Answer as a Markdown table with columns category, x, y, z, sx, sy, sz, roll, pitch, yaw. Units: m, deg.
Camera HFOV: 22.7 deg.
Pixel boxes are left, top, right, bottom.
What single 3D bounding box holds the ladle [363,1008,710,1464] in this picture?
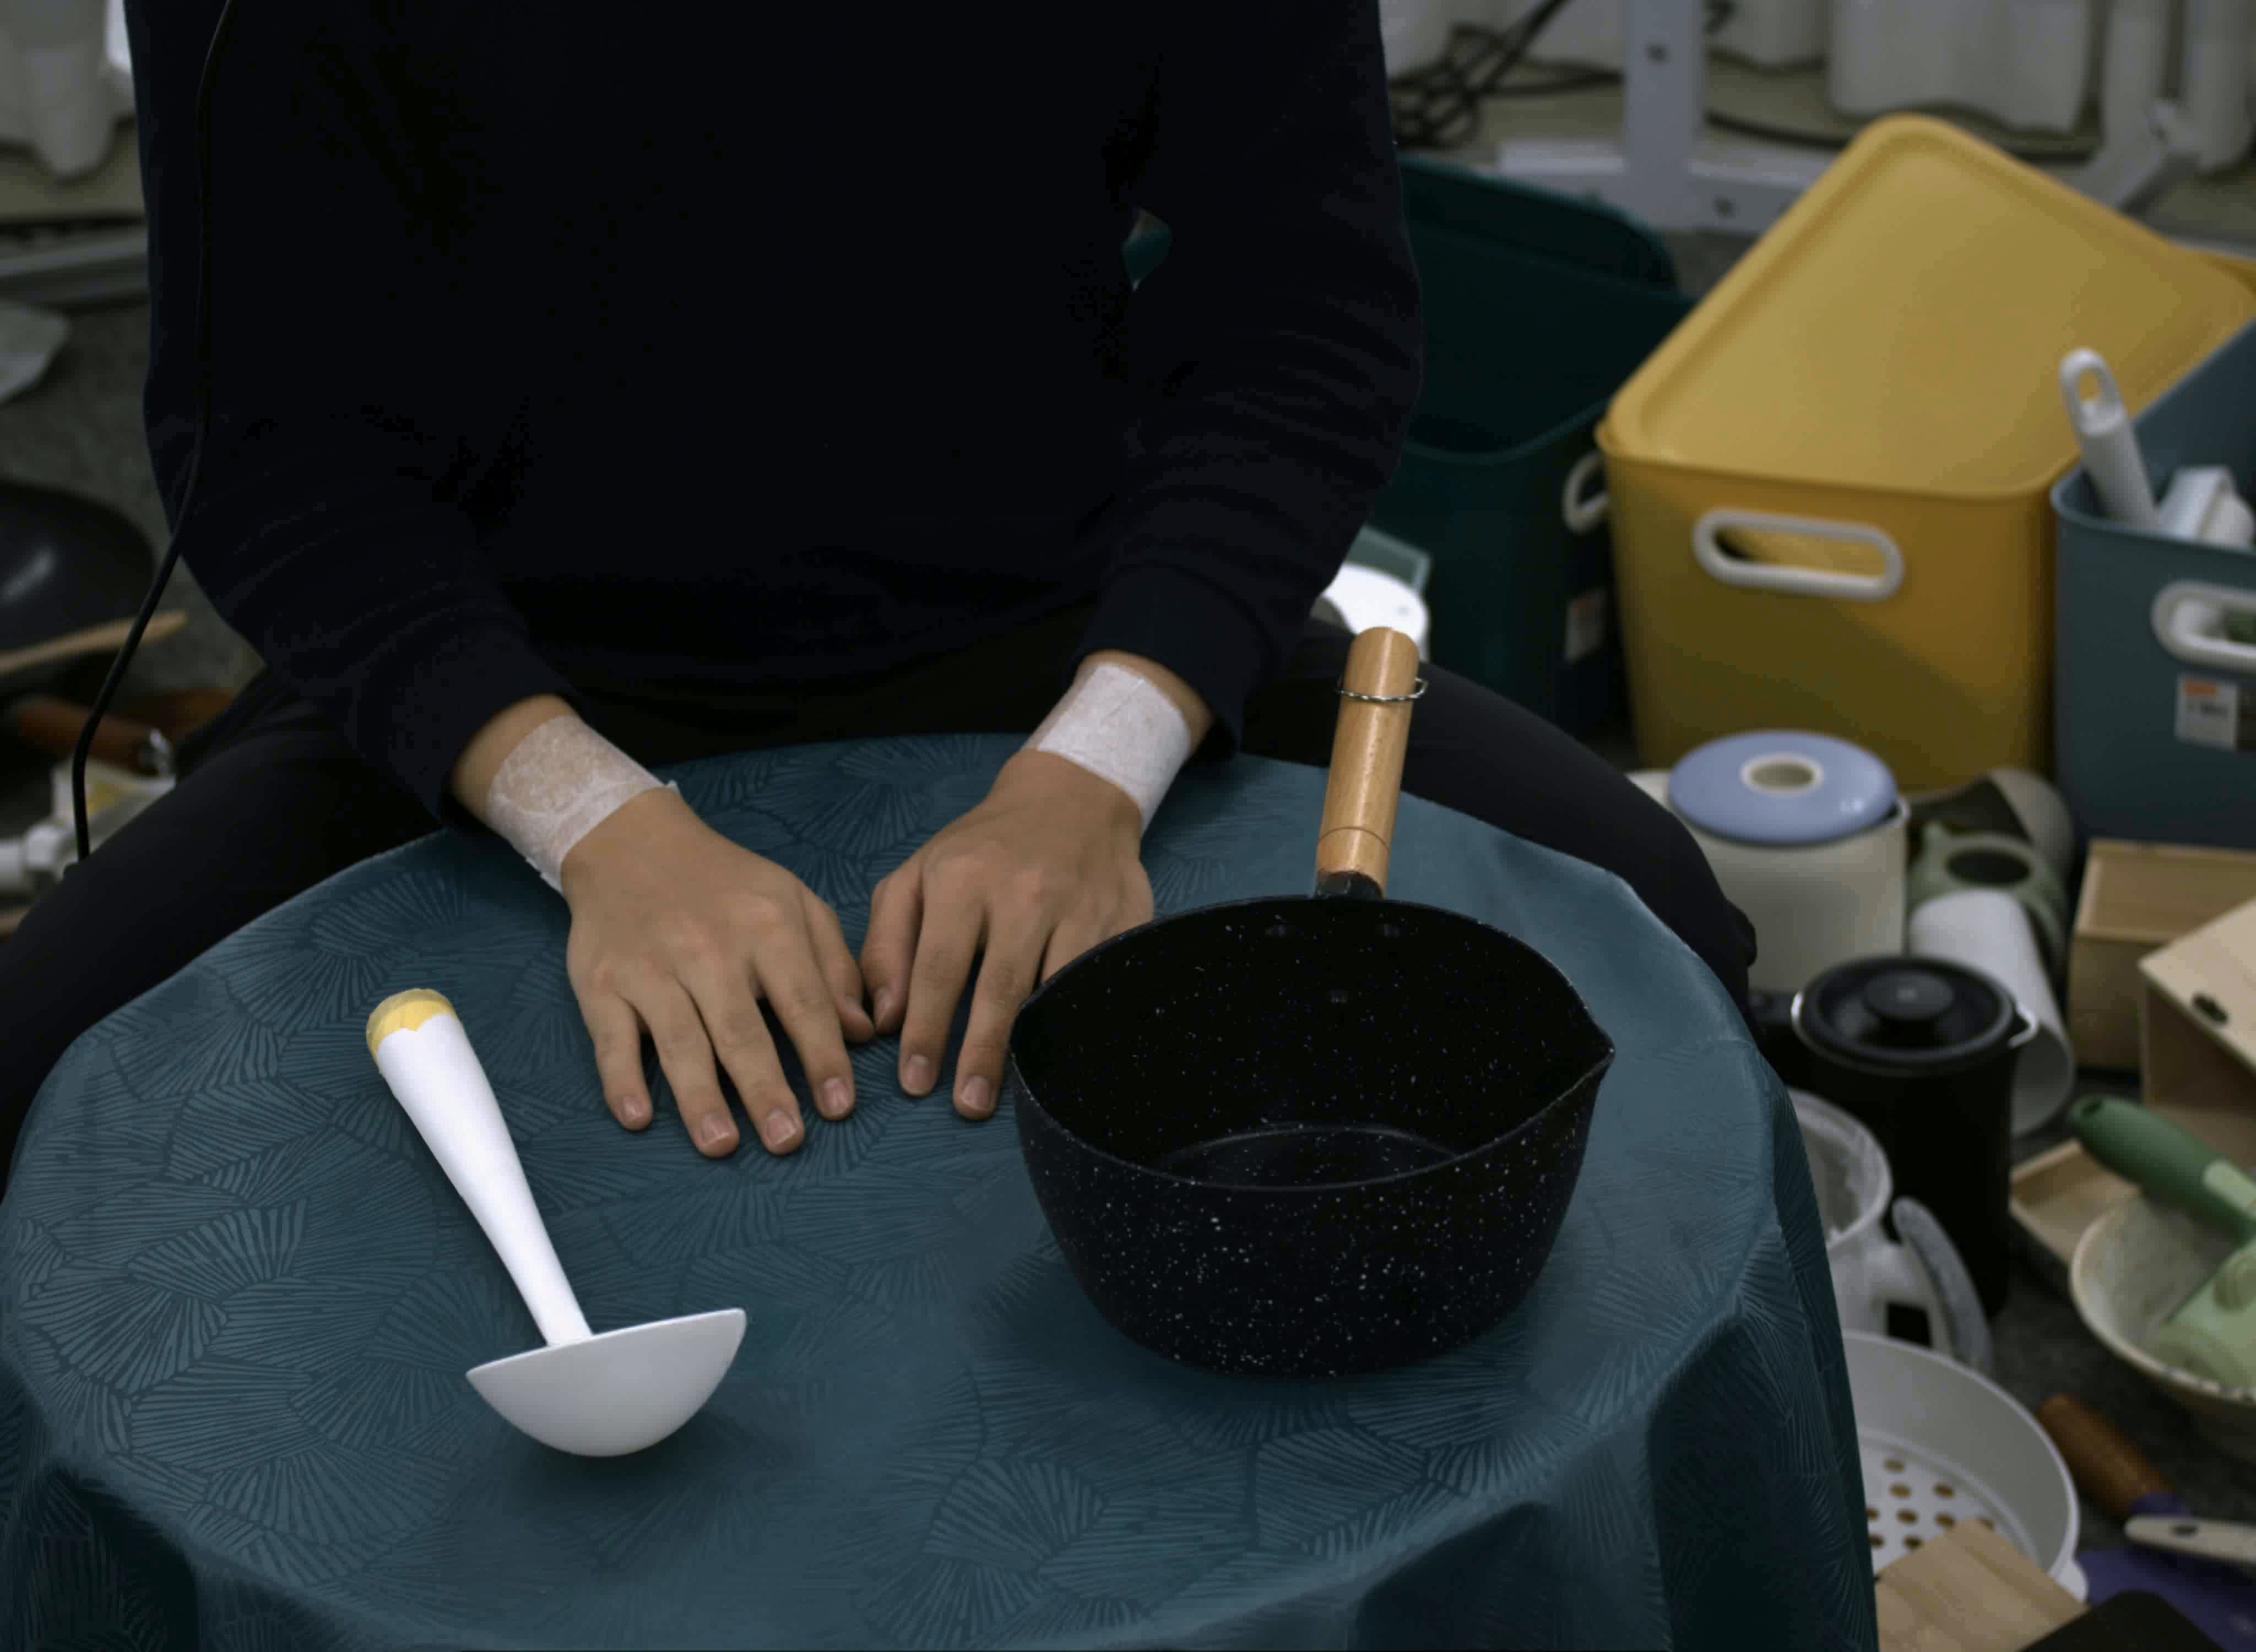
| category | x | y | z | sx | sy | sz | roll | pitch | yaw |
| --- | --- | --- | --- | --- | --- | --- | --- | --- | --- |
| ladle | -0.206 | 0.121 | 1.816 | 0.090 | 0.069 | 0.295 | -17 | 29 | -12 |

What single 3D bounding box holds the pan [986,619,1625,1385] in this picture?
| category | x | y | z | sx | sy | sz | roll | pitch | yaw |
| --- | --- | --- | --- | --- | --- | --- | --- | --- | --- |
| pan | 0.066 | 0.055 | 1.868 | 0.206 | 0.107 | 0.349 | 0 | 29 | 8 |
